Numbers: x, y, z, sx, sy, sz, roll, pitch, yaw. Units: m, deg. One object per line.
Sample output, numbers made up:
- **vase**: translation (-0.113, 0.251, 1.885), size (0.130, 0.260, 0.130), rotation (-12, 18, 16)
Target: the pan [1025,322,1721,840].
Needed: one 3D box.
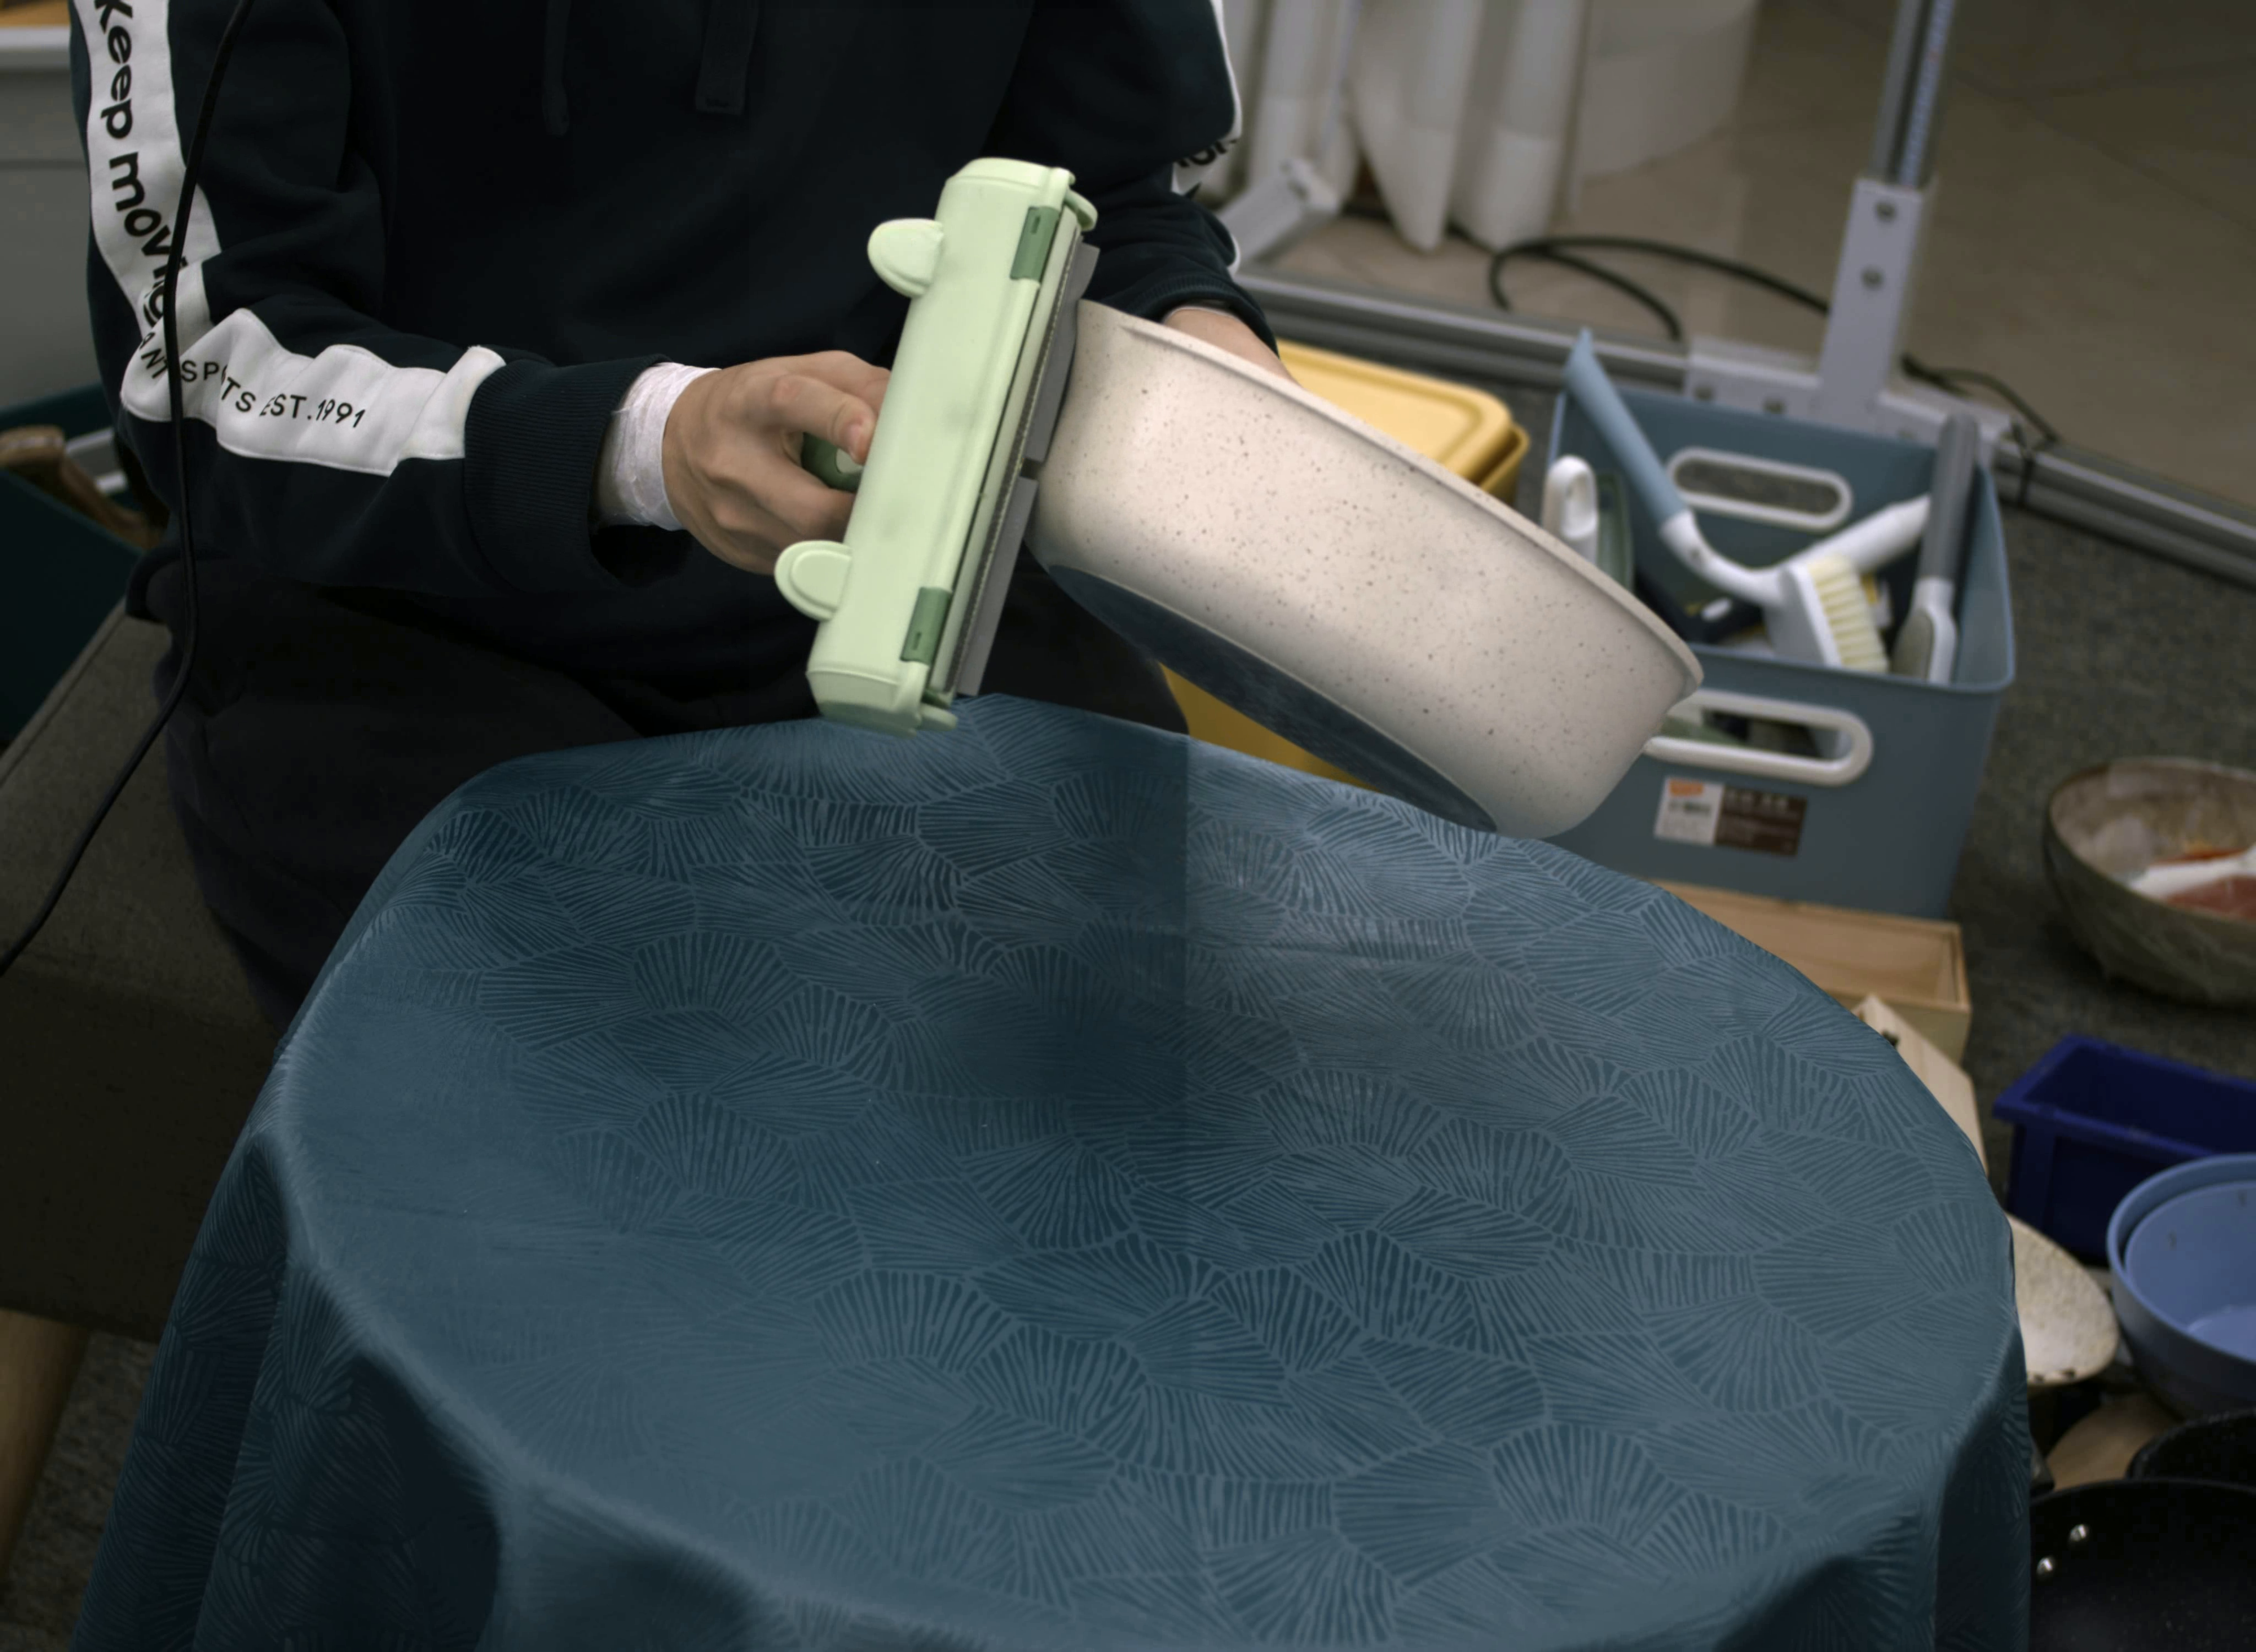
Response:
- **pan**: translation (0.056, -0.088, 1.936), size (0.262, 0.102, 0.436), rotation (29, -4, -14)

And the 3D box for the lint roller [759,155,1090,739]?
- **lint roller**: translation (-0.098, -0.131, 1.839), size (0.081, 0.199, 0.184), rotation (22, -12, -34)
